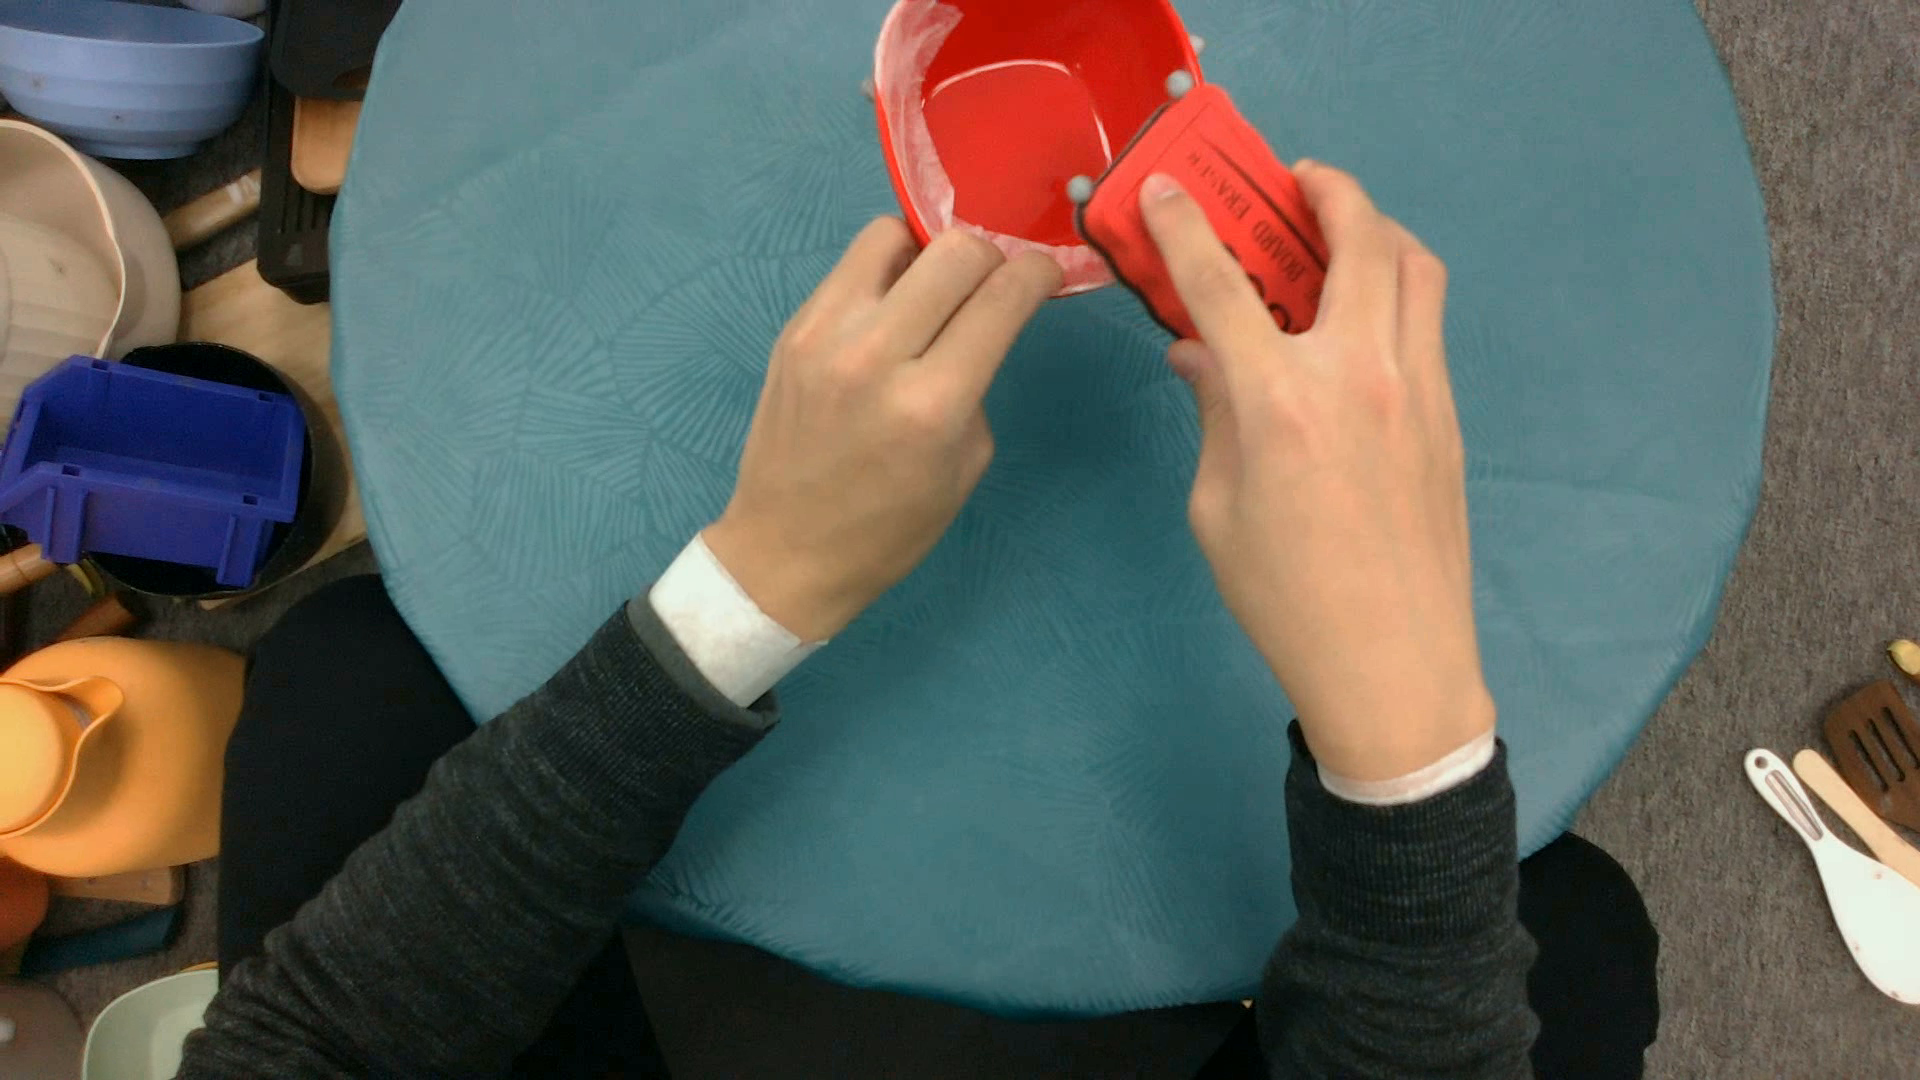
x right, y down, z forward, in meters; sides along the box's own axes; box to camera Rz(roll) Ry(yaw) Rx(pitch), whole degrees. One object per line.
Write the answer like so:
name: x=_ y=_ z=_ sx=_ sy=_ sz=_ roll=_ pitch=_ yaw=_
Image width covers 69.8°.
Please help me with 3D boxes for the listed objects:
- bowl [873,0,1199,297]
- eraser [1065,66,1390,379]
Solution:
bowl: x=0.022 y=-0.134 z=0.465 sx=0.119 sy=0.051 sz=0.119 roll=0 pitch=89 yaw=-15
eraser: x=0.089 y=-0.101 z=0.451 sx=0.108 sy=0.023 sz=0.059 roll=30 pitch=81 yaw=-23
